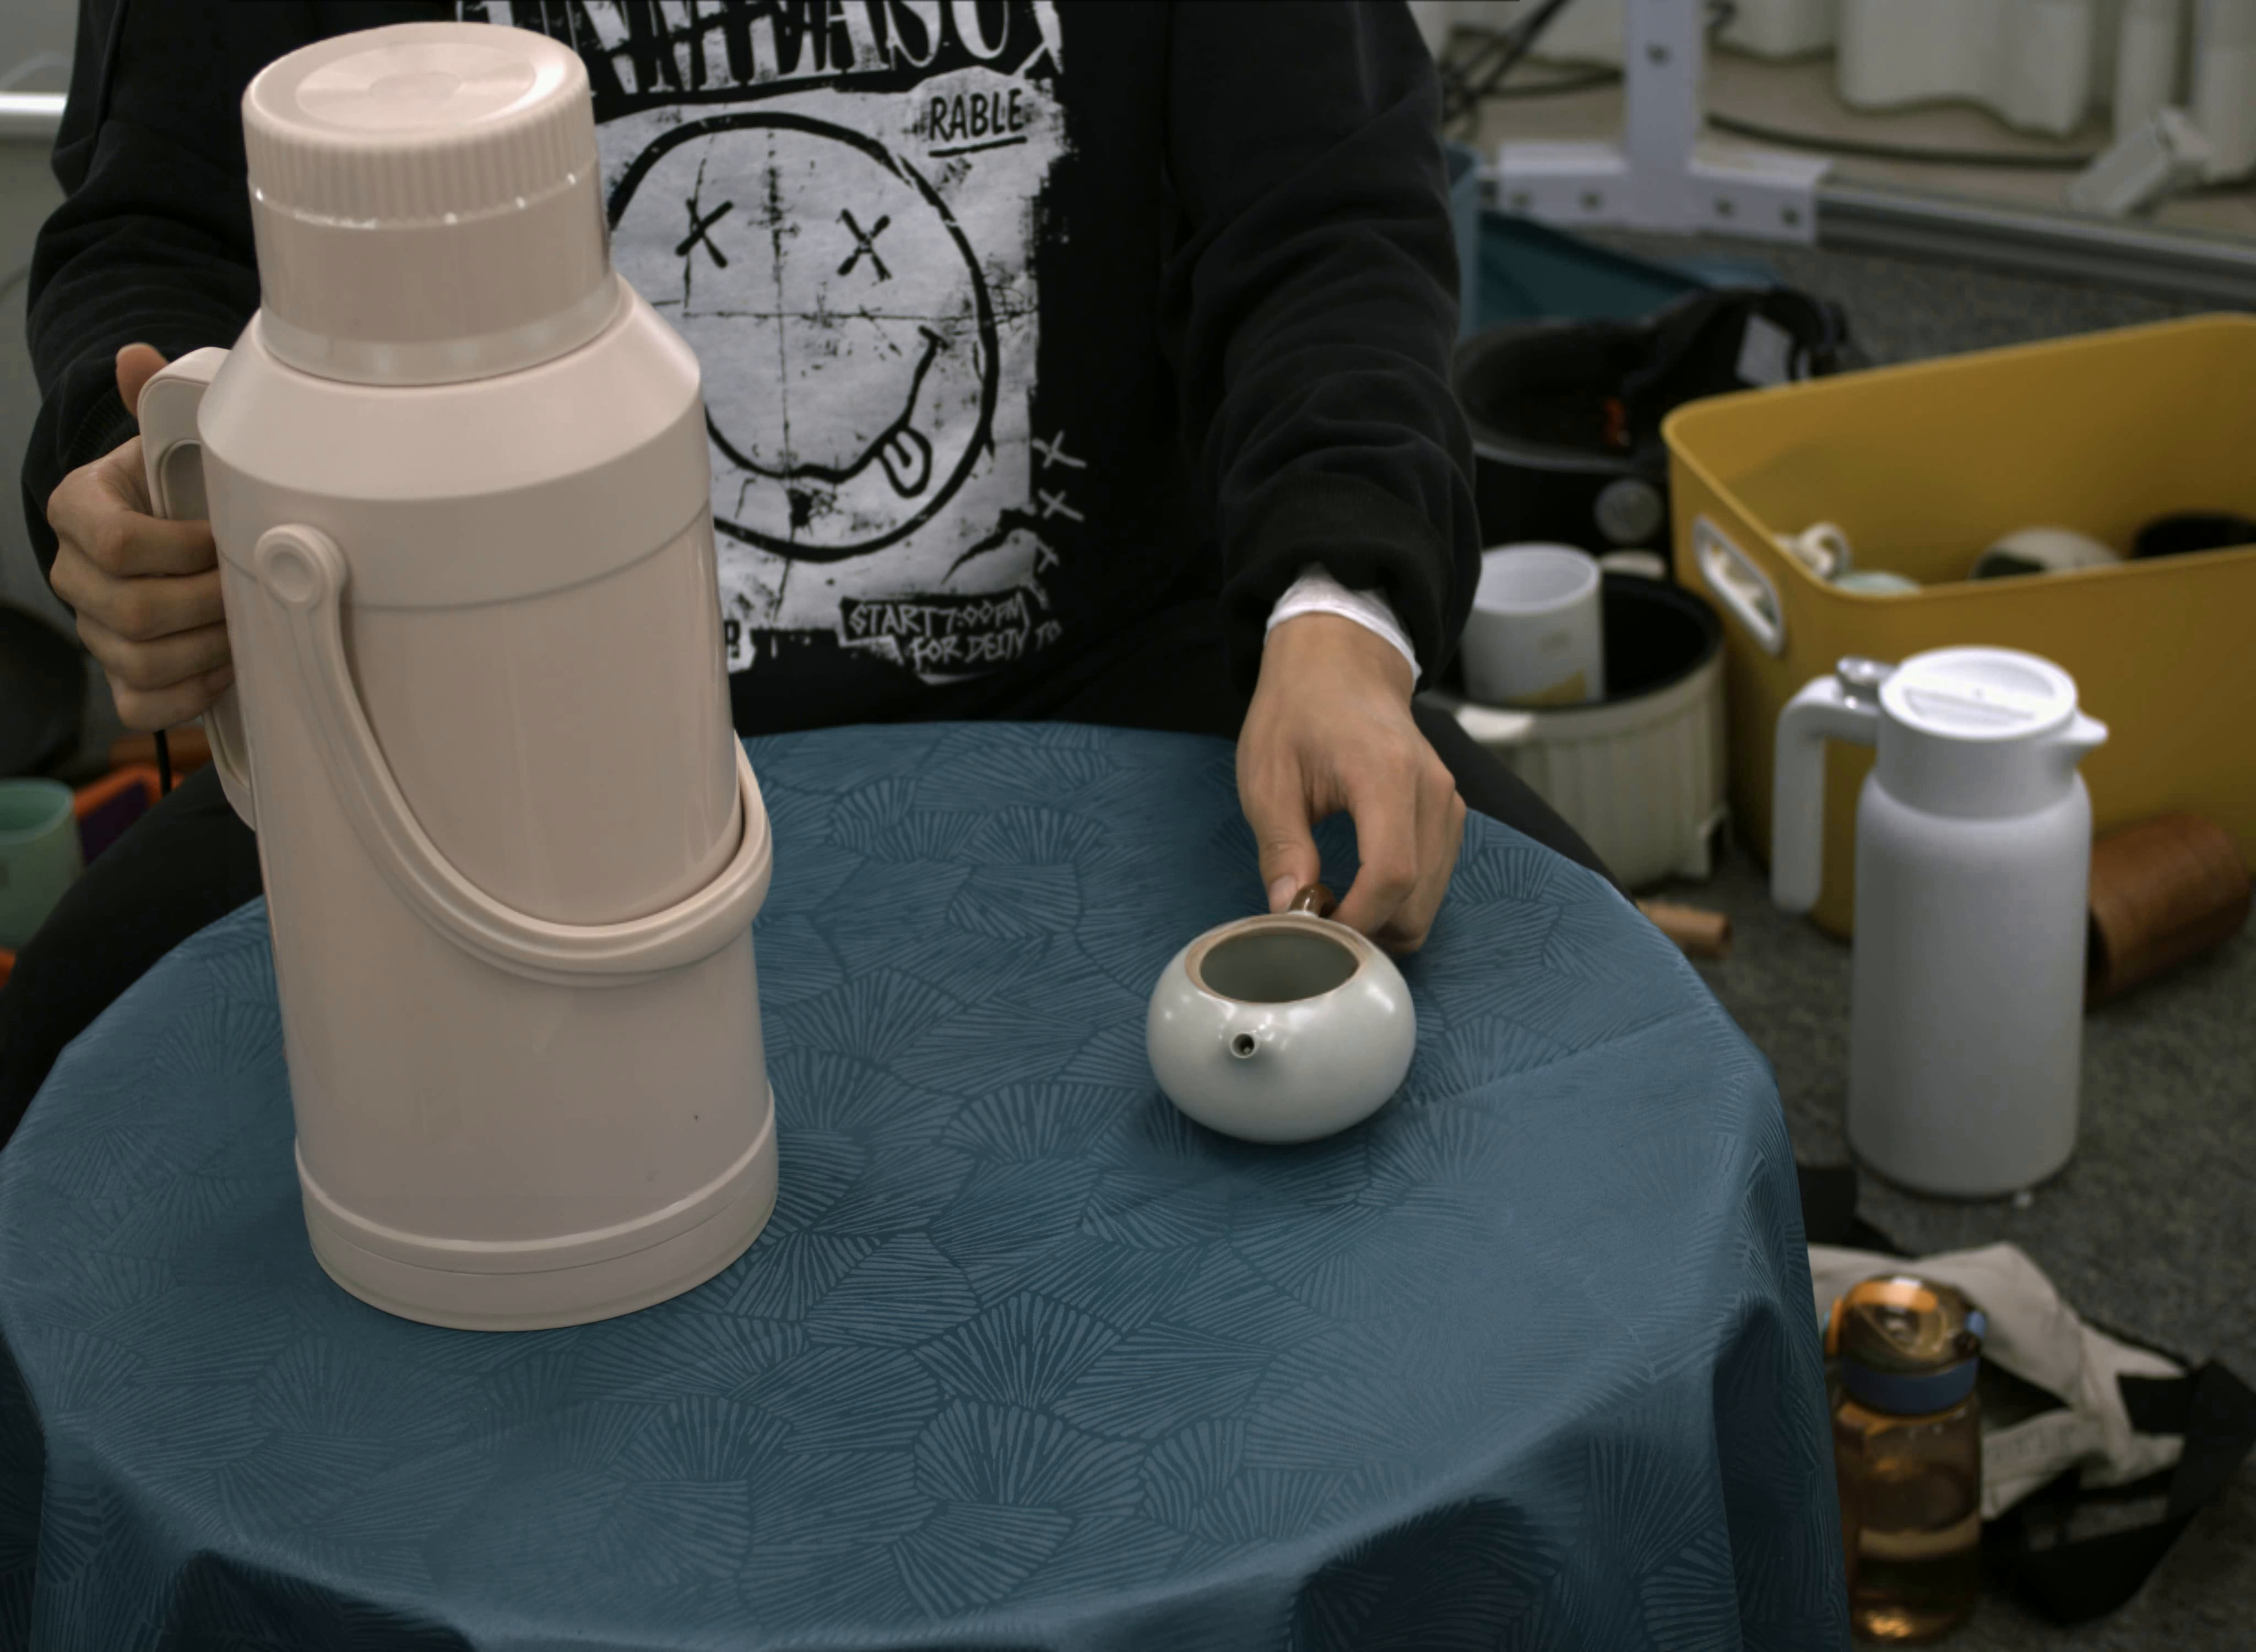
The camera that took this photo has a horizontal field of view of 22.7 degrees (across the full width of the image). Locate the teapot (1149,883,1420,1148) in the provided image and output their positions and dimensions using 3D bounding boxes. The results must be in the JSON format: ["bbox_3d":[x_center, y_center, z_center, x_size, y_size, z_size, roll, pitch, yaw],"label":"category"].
[{"bbox_3d":[0.054,0.065,1.899,0.091,0.059,0.130,-1,27,13],"label":"teapot"}]

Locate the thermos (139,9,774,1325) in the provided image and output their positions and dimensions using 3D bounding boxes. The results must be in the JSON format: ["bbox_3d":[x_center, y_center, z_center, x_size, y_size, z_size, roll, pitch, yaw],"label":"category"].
[{"bbox_3d":[-0.217,-0.053,1.792,0.206,0.402,0.178,11,31,25],"label":"thermos"}]
